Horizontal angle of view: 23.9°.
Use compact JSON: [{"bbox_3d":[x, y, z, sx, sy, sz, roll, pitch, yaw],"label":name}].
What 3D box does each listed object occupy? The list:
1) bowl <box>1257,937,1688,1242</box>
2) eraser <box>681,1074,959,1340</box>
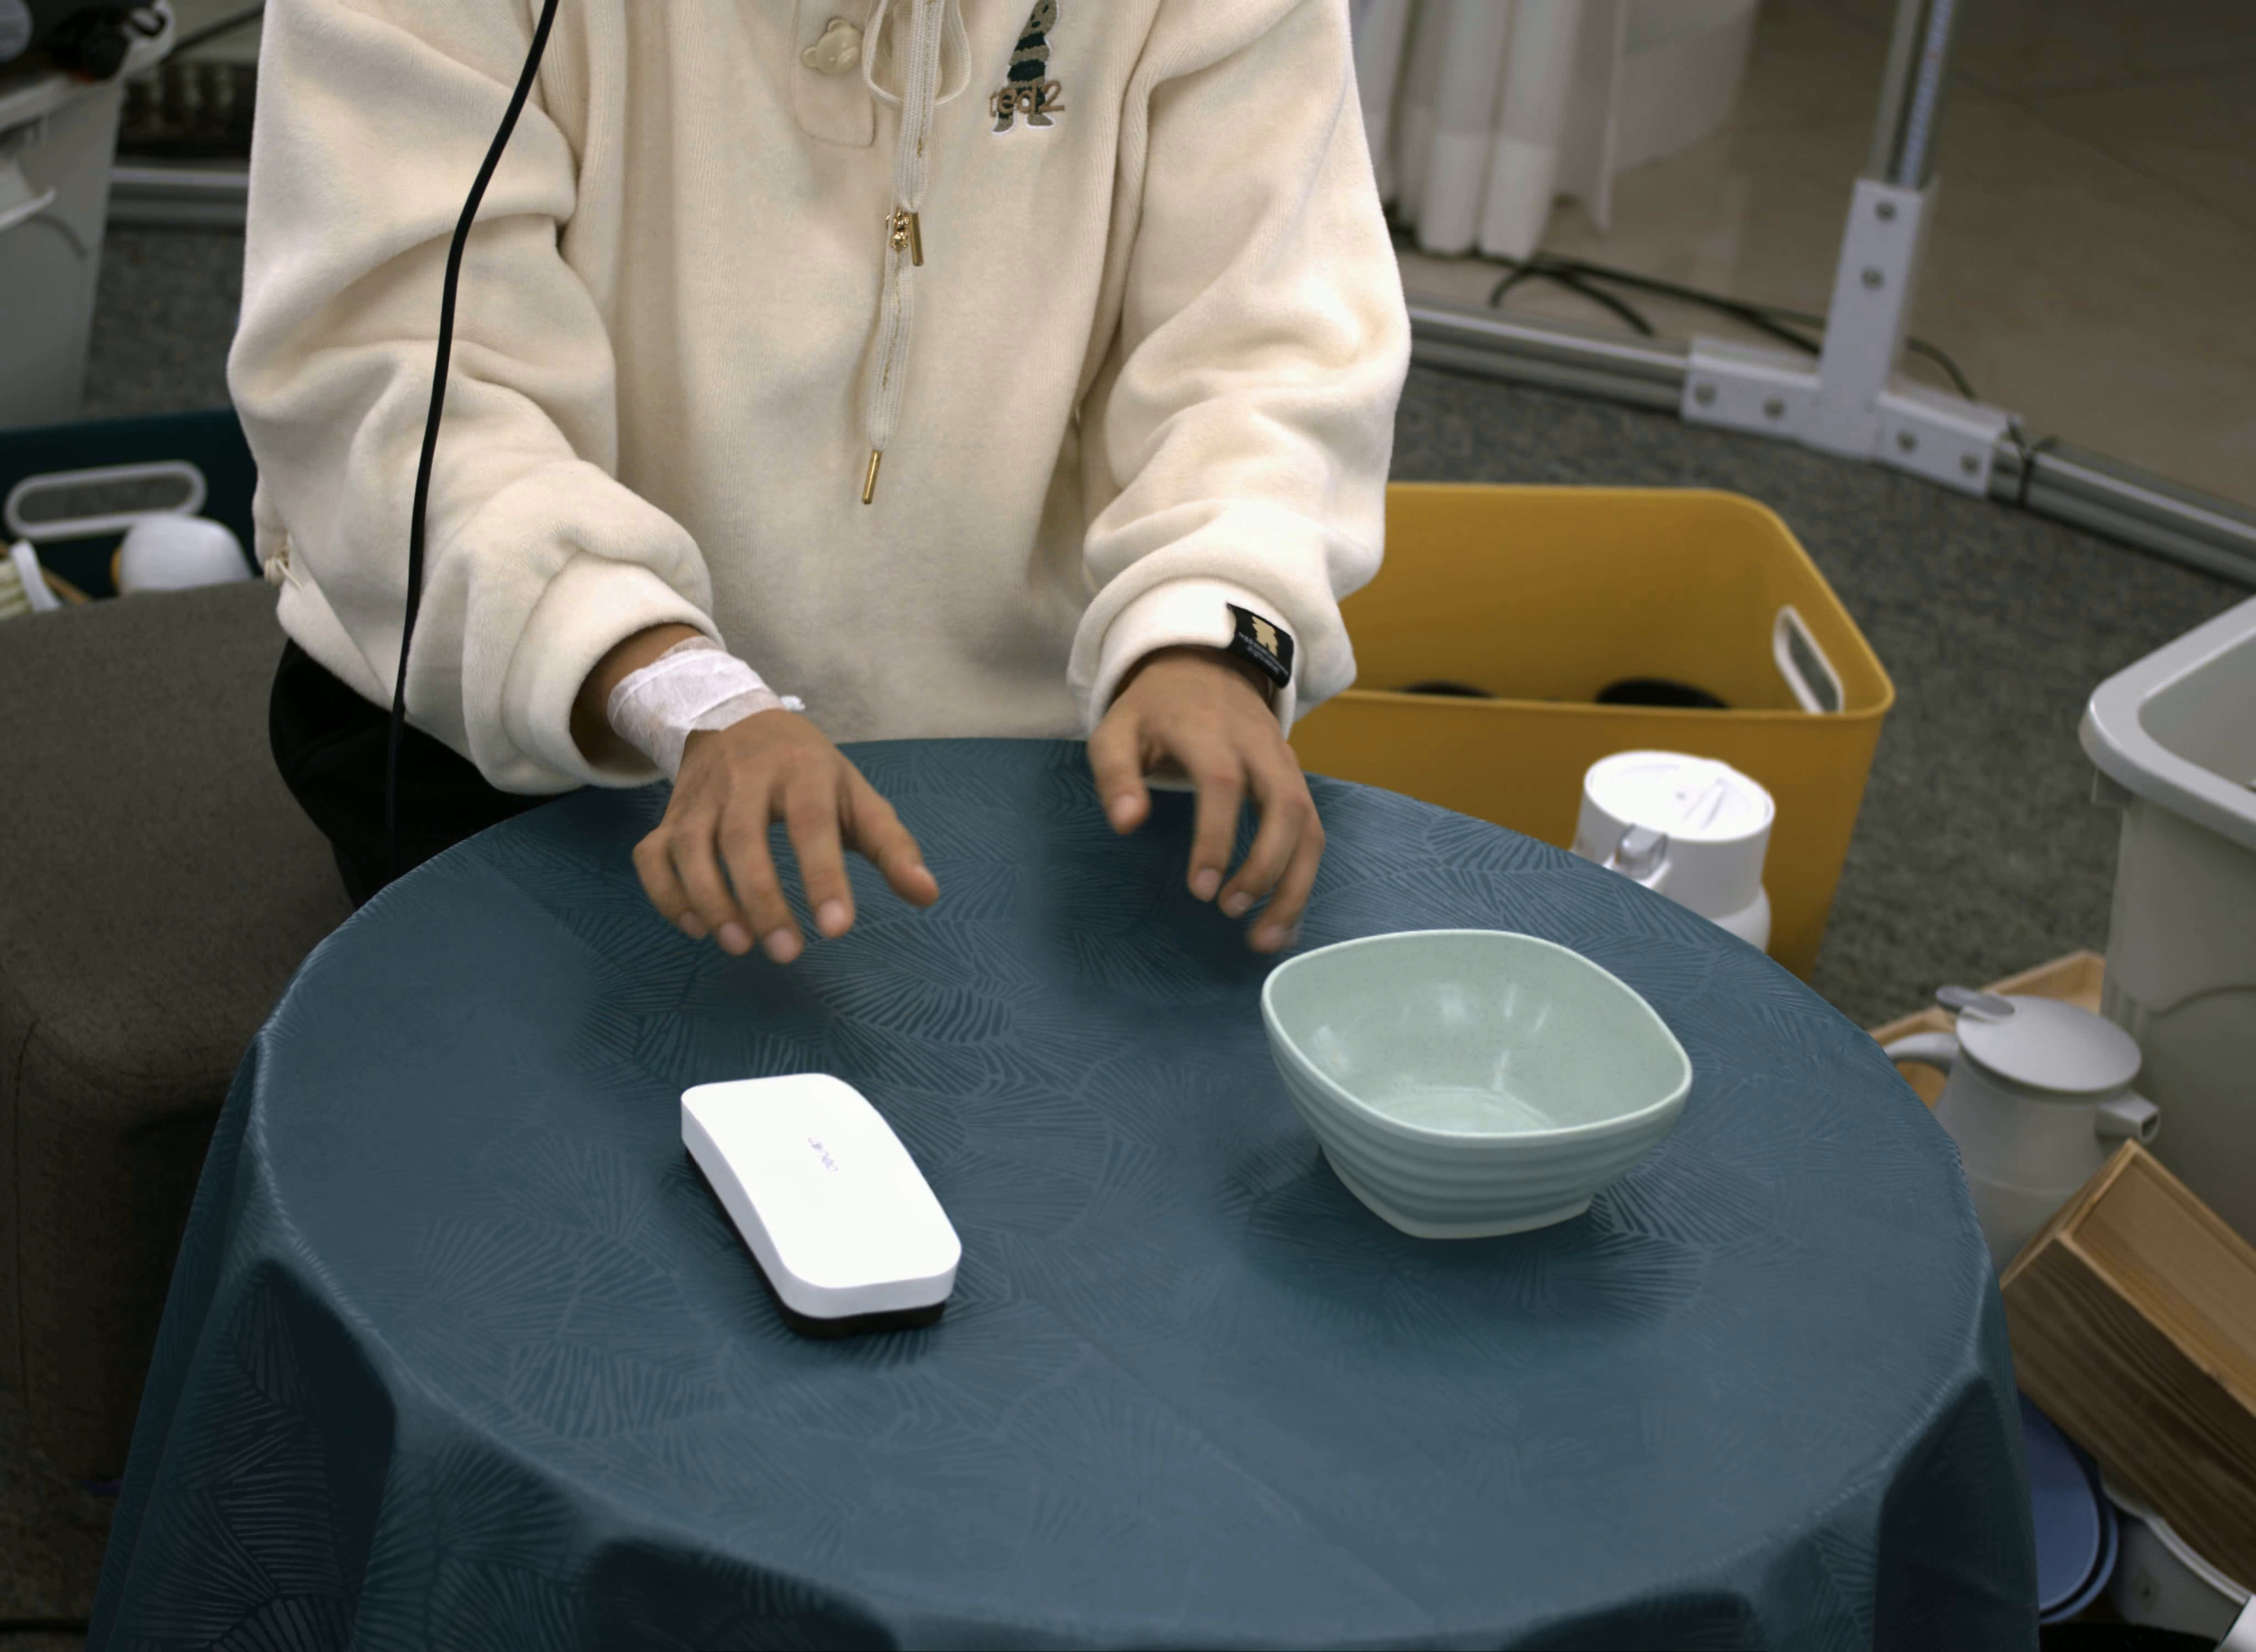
[{"bbox_3d":[0.113,0.096,1.822,0.151,0.058,0.152,7,25,-3],"label":"bowl"},{"bbox_3d":[-0.102,0.121,1.750,0.063,0.034,0.132,-5,29,-22],"label":"eraser"}]
